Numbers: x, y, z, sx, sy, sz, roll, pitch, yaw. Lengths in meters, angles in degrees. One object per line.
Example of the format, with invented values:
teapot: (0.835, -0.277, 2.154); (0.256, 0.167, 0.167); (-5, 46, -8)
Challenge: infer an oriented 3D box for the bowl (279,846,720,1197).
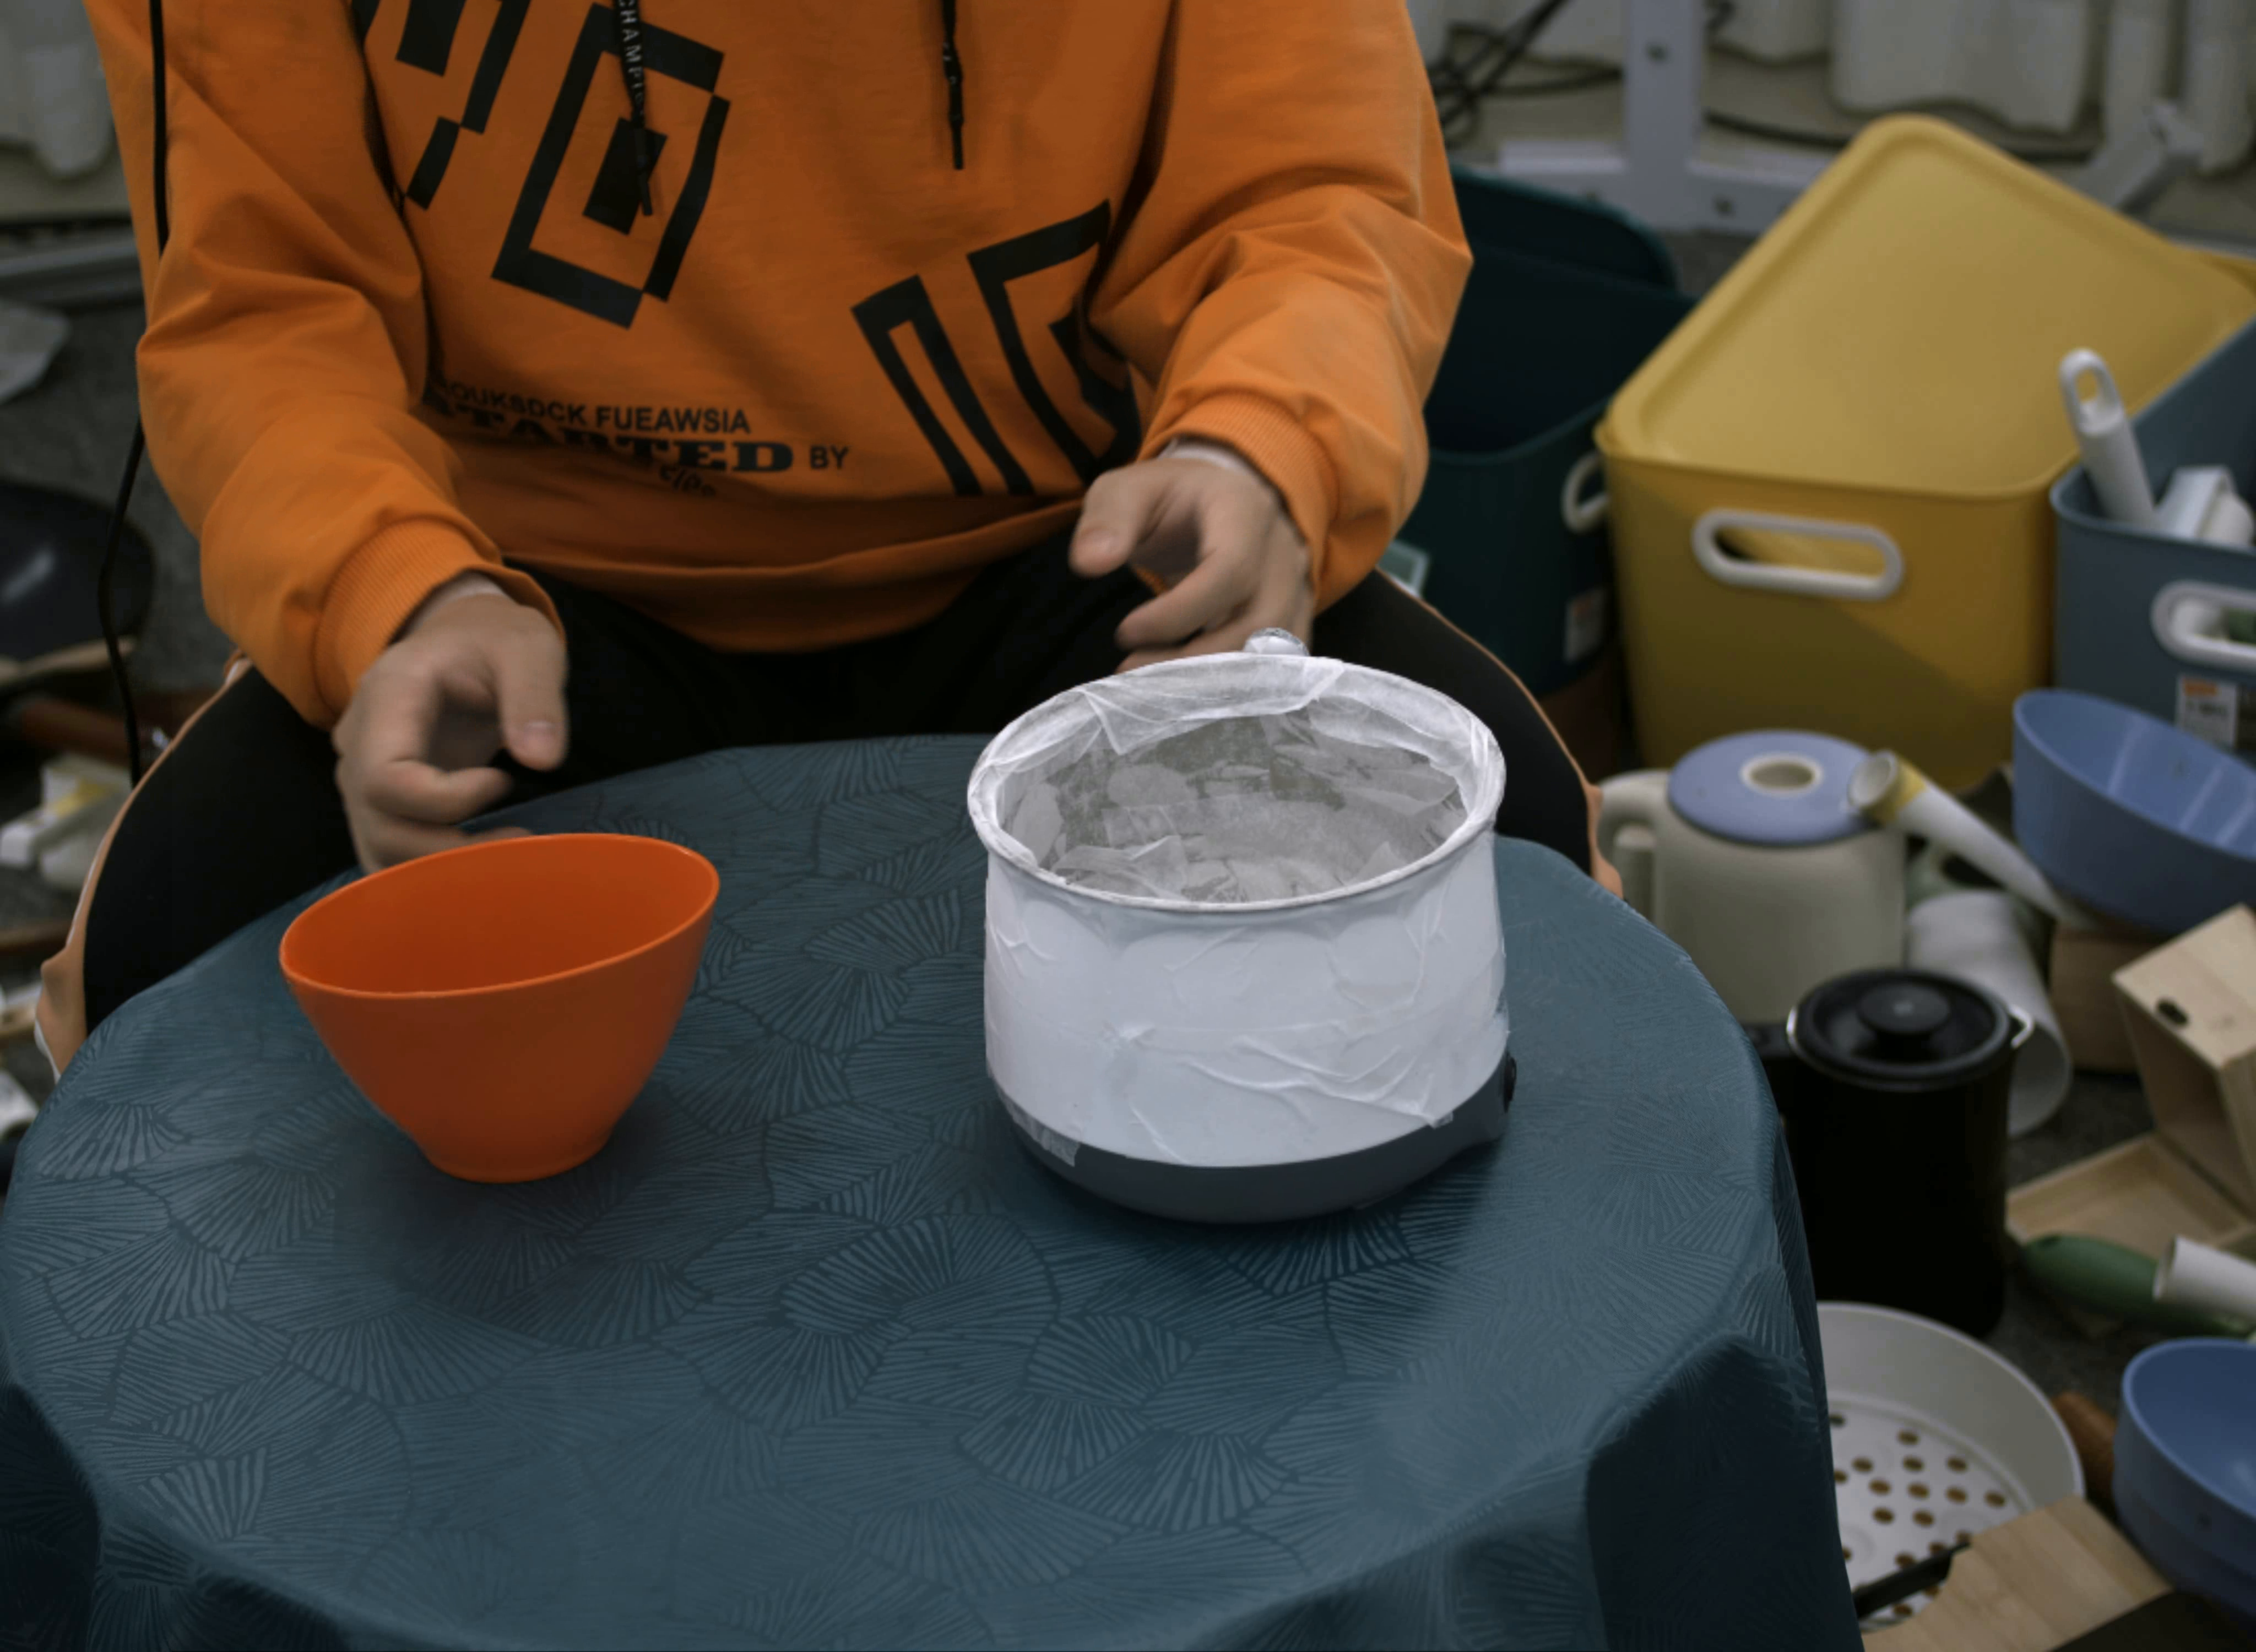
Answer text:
bowl: (-0.207, 0.069, 1.883); (0.147, 0.103, 0.150); (-2, 25, 2)

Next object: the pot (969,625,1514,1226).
pot: (0.042, 0.026, 1.894); (0.177, 0.135, 0.237); (1, 28, 7)
